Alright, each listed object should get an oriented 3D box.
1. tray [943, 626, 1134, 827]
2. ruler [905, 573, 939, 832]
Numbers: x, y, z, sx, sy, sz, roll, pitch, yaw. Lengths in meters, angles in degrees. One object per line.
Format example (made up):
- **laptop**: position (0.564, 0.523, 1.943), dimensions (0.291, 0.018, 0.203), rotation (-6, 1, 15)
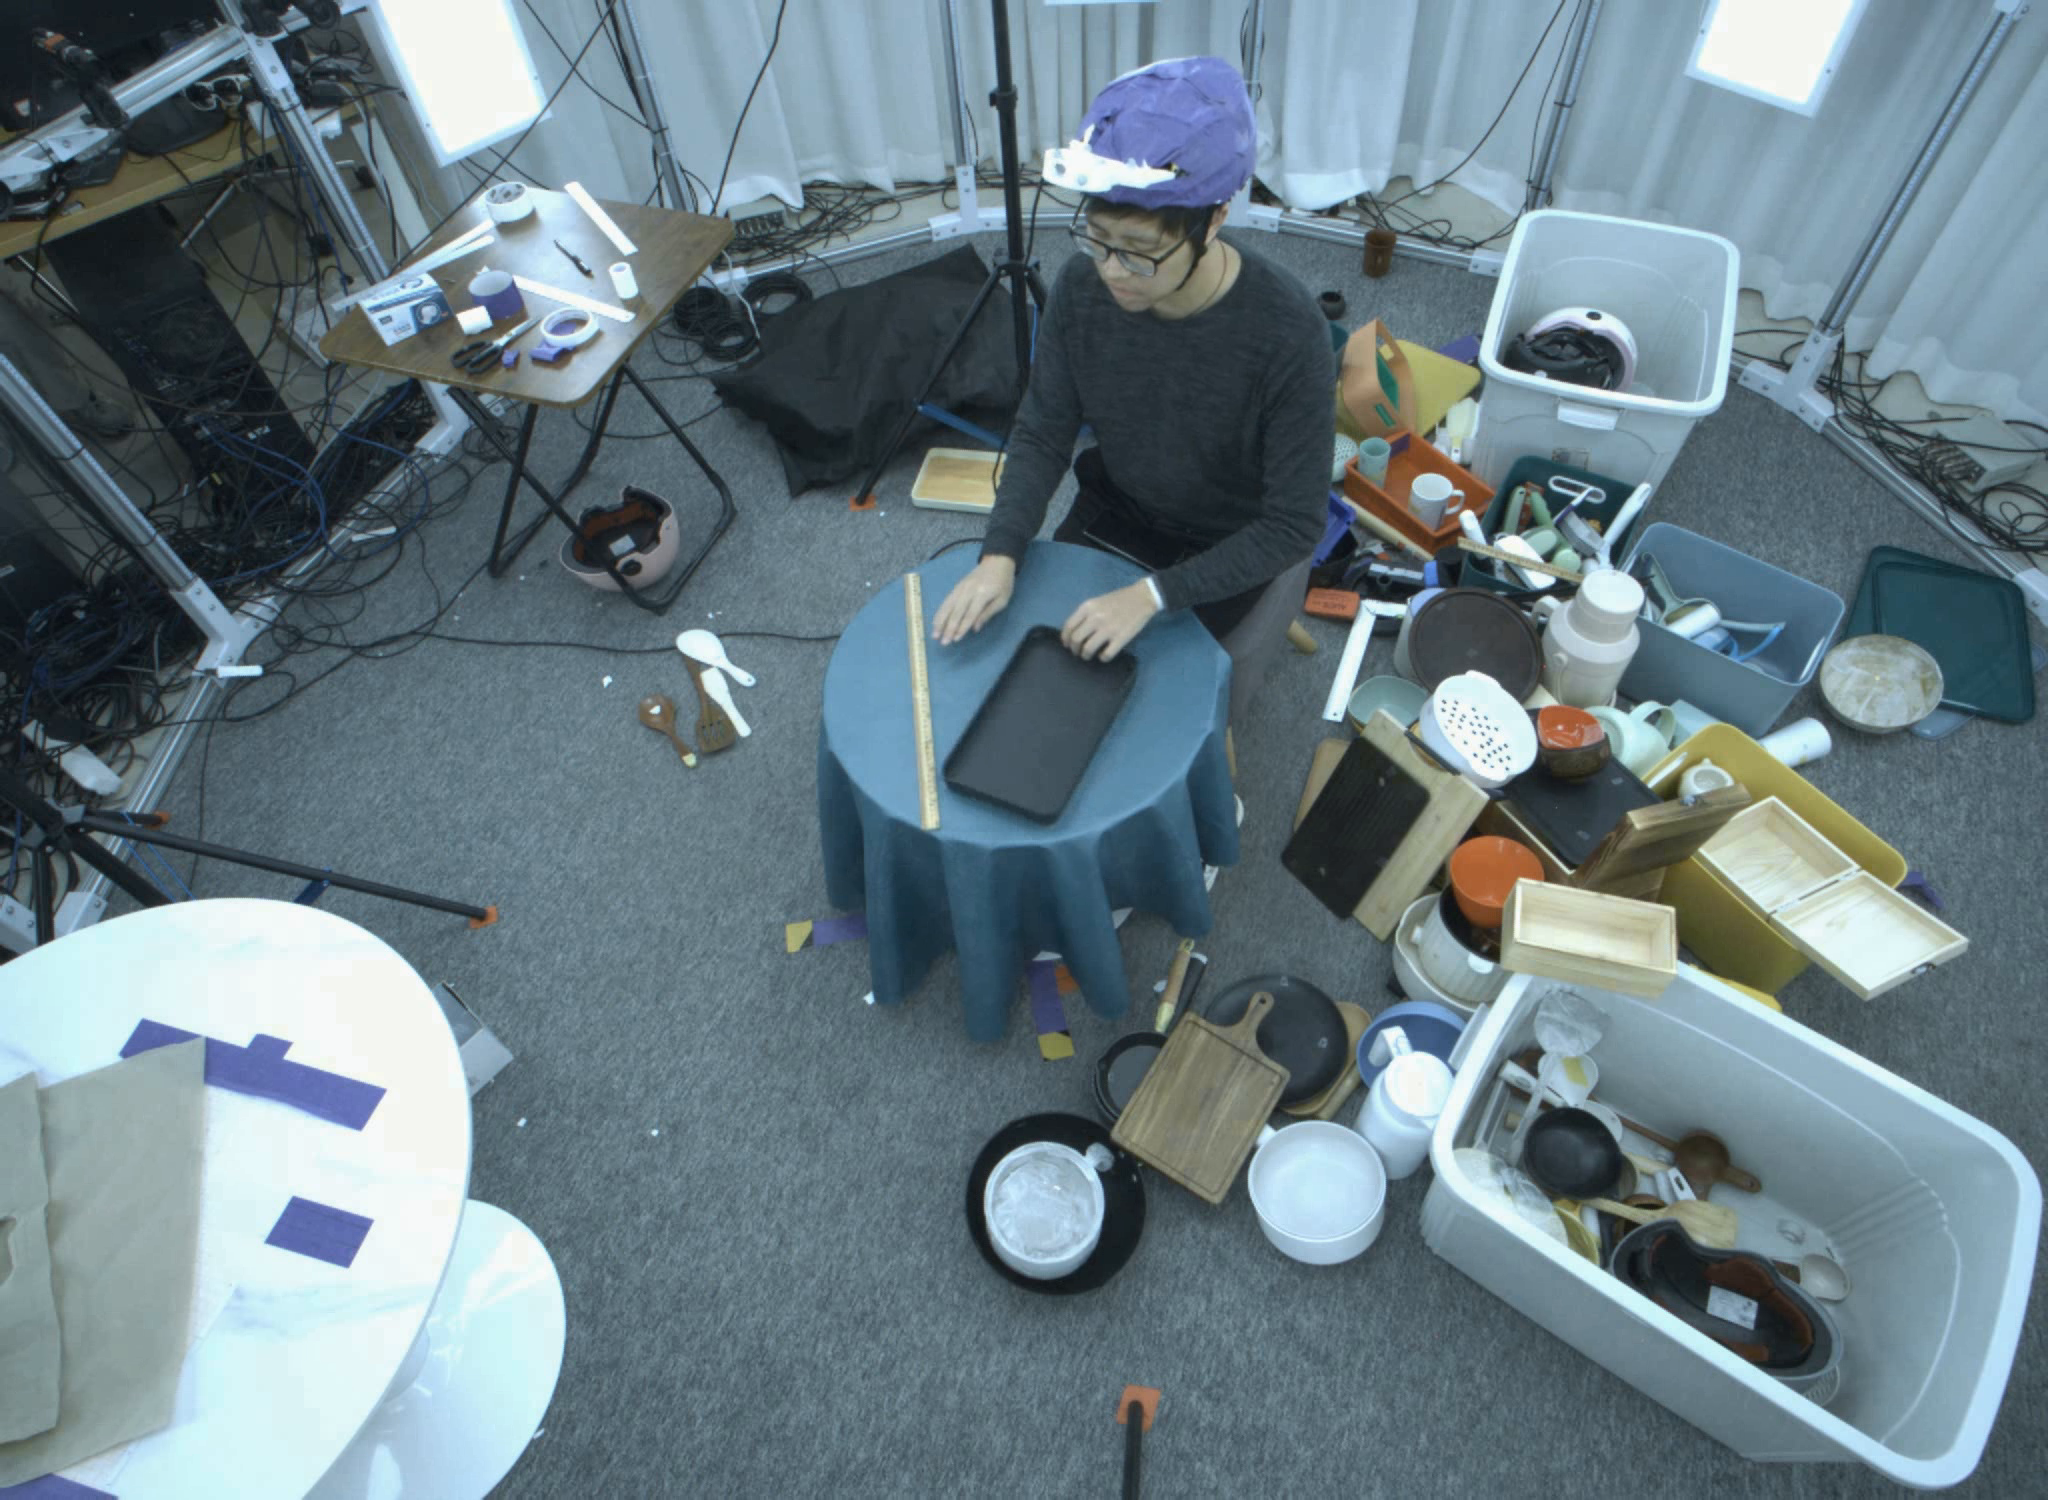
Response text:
- **tray**: position (0.026, -0.041, 1.794), dimensions (0.182, 0.037, 0.318), rotation (18, 57, 14)
- **ruler**: position (-0.157, -0.088, 1.852), dimensions (0.027, 0.006, 0.494), rotation (-4, 55, -4)
